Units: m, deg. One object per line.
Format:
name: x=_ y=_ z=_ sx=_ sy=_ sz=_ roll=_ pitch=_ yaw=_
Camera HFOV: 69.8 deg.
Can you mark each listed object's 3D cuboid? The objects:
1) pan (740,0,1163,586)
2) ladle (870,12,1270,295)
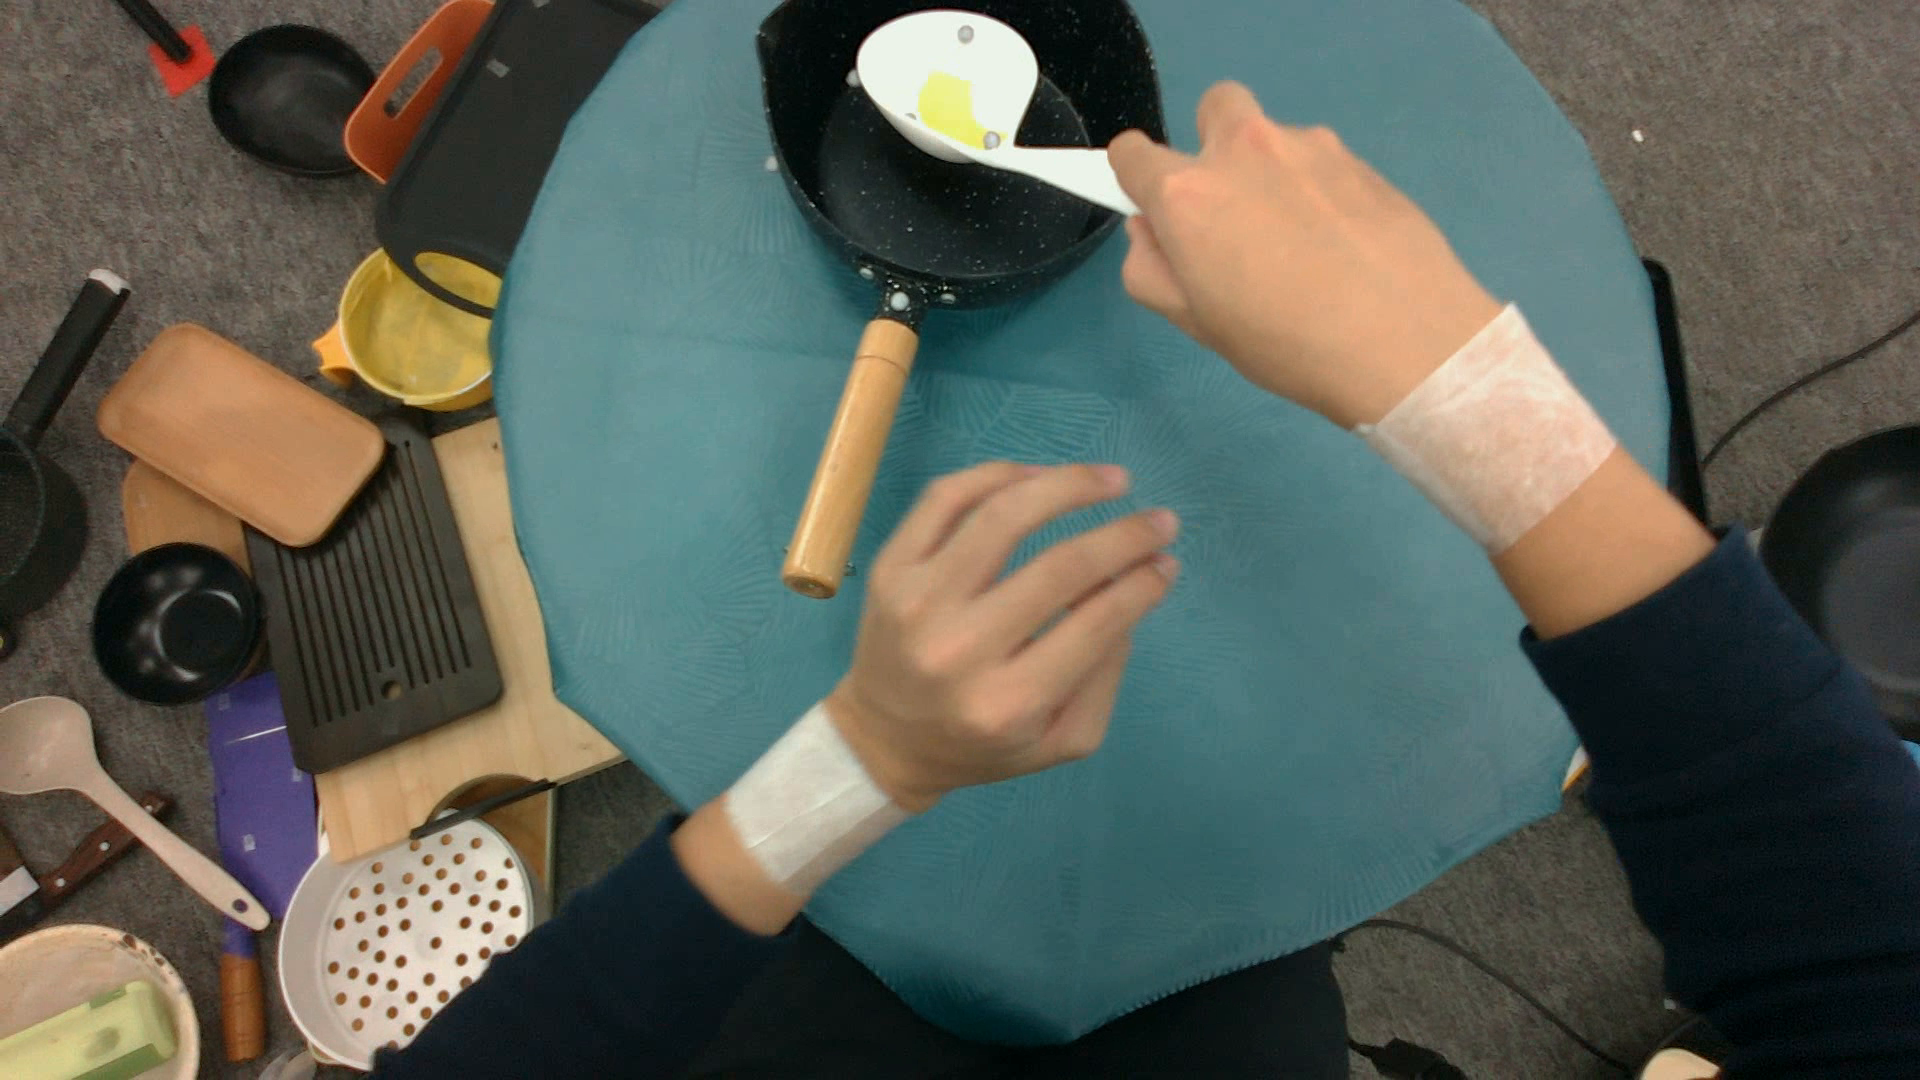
pan: x=-0.023 y=-0.133 z=0.653 sx=0.207 sy=0.108 sz=0.343 roll=15 pitch=77 yaw=-1
ladle: x=0.043 y=-0.181 z=0.604 sx=0.090 sy=0.293 sz=0.069 roll=-10 pitch=119 yaw=-20
